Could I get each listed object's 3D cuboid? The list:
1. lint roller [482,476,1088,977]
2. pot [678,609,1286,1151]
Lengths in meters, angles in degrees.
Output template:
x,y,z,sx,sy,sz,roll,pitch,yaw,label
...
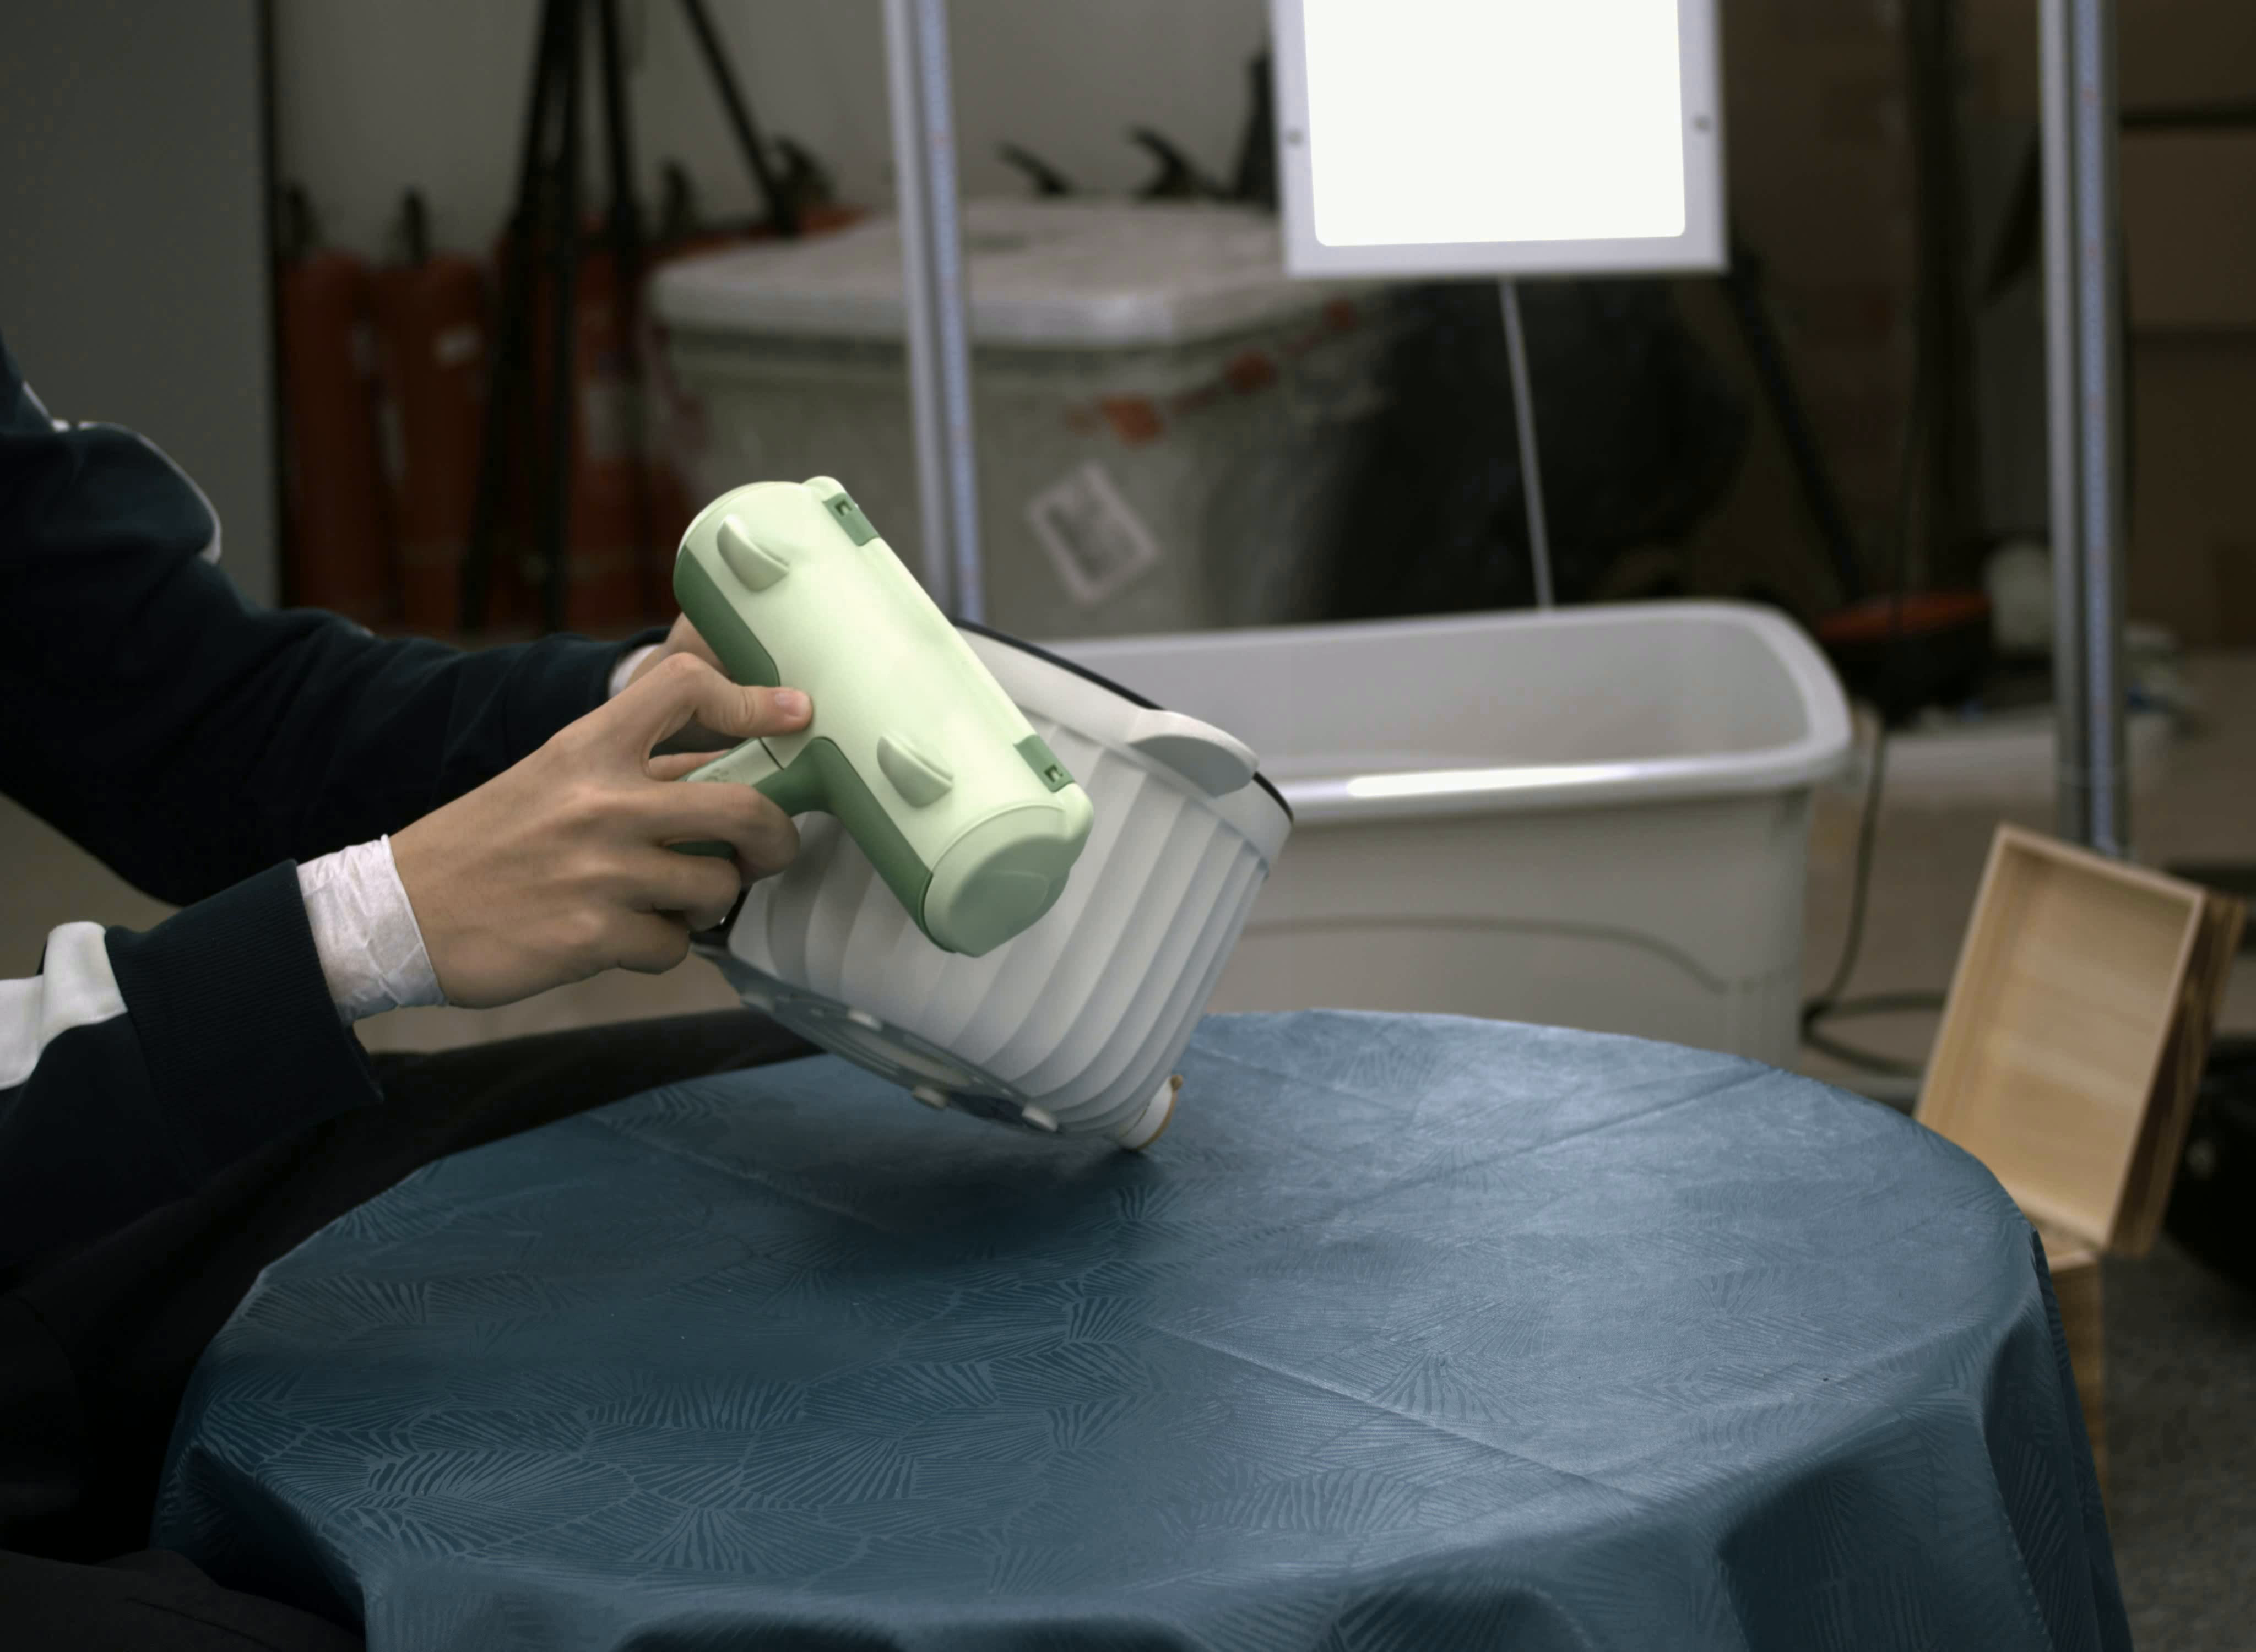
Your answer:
x,y,z,sx,sy,sz,roll,pitch,yaw,label
-0.135,-0.017,1.788,0.181,0.082,0.201,-28,51,-11,lint roller
-0.050,0.025,1.908,0.187,0.142,0.245,27,-10,-29,pot
